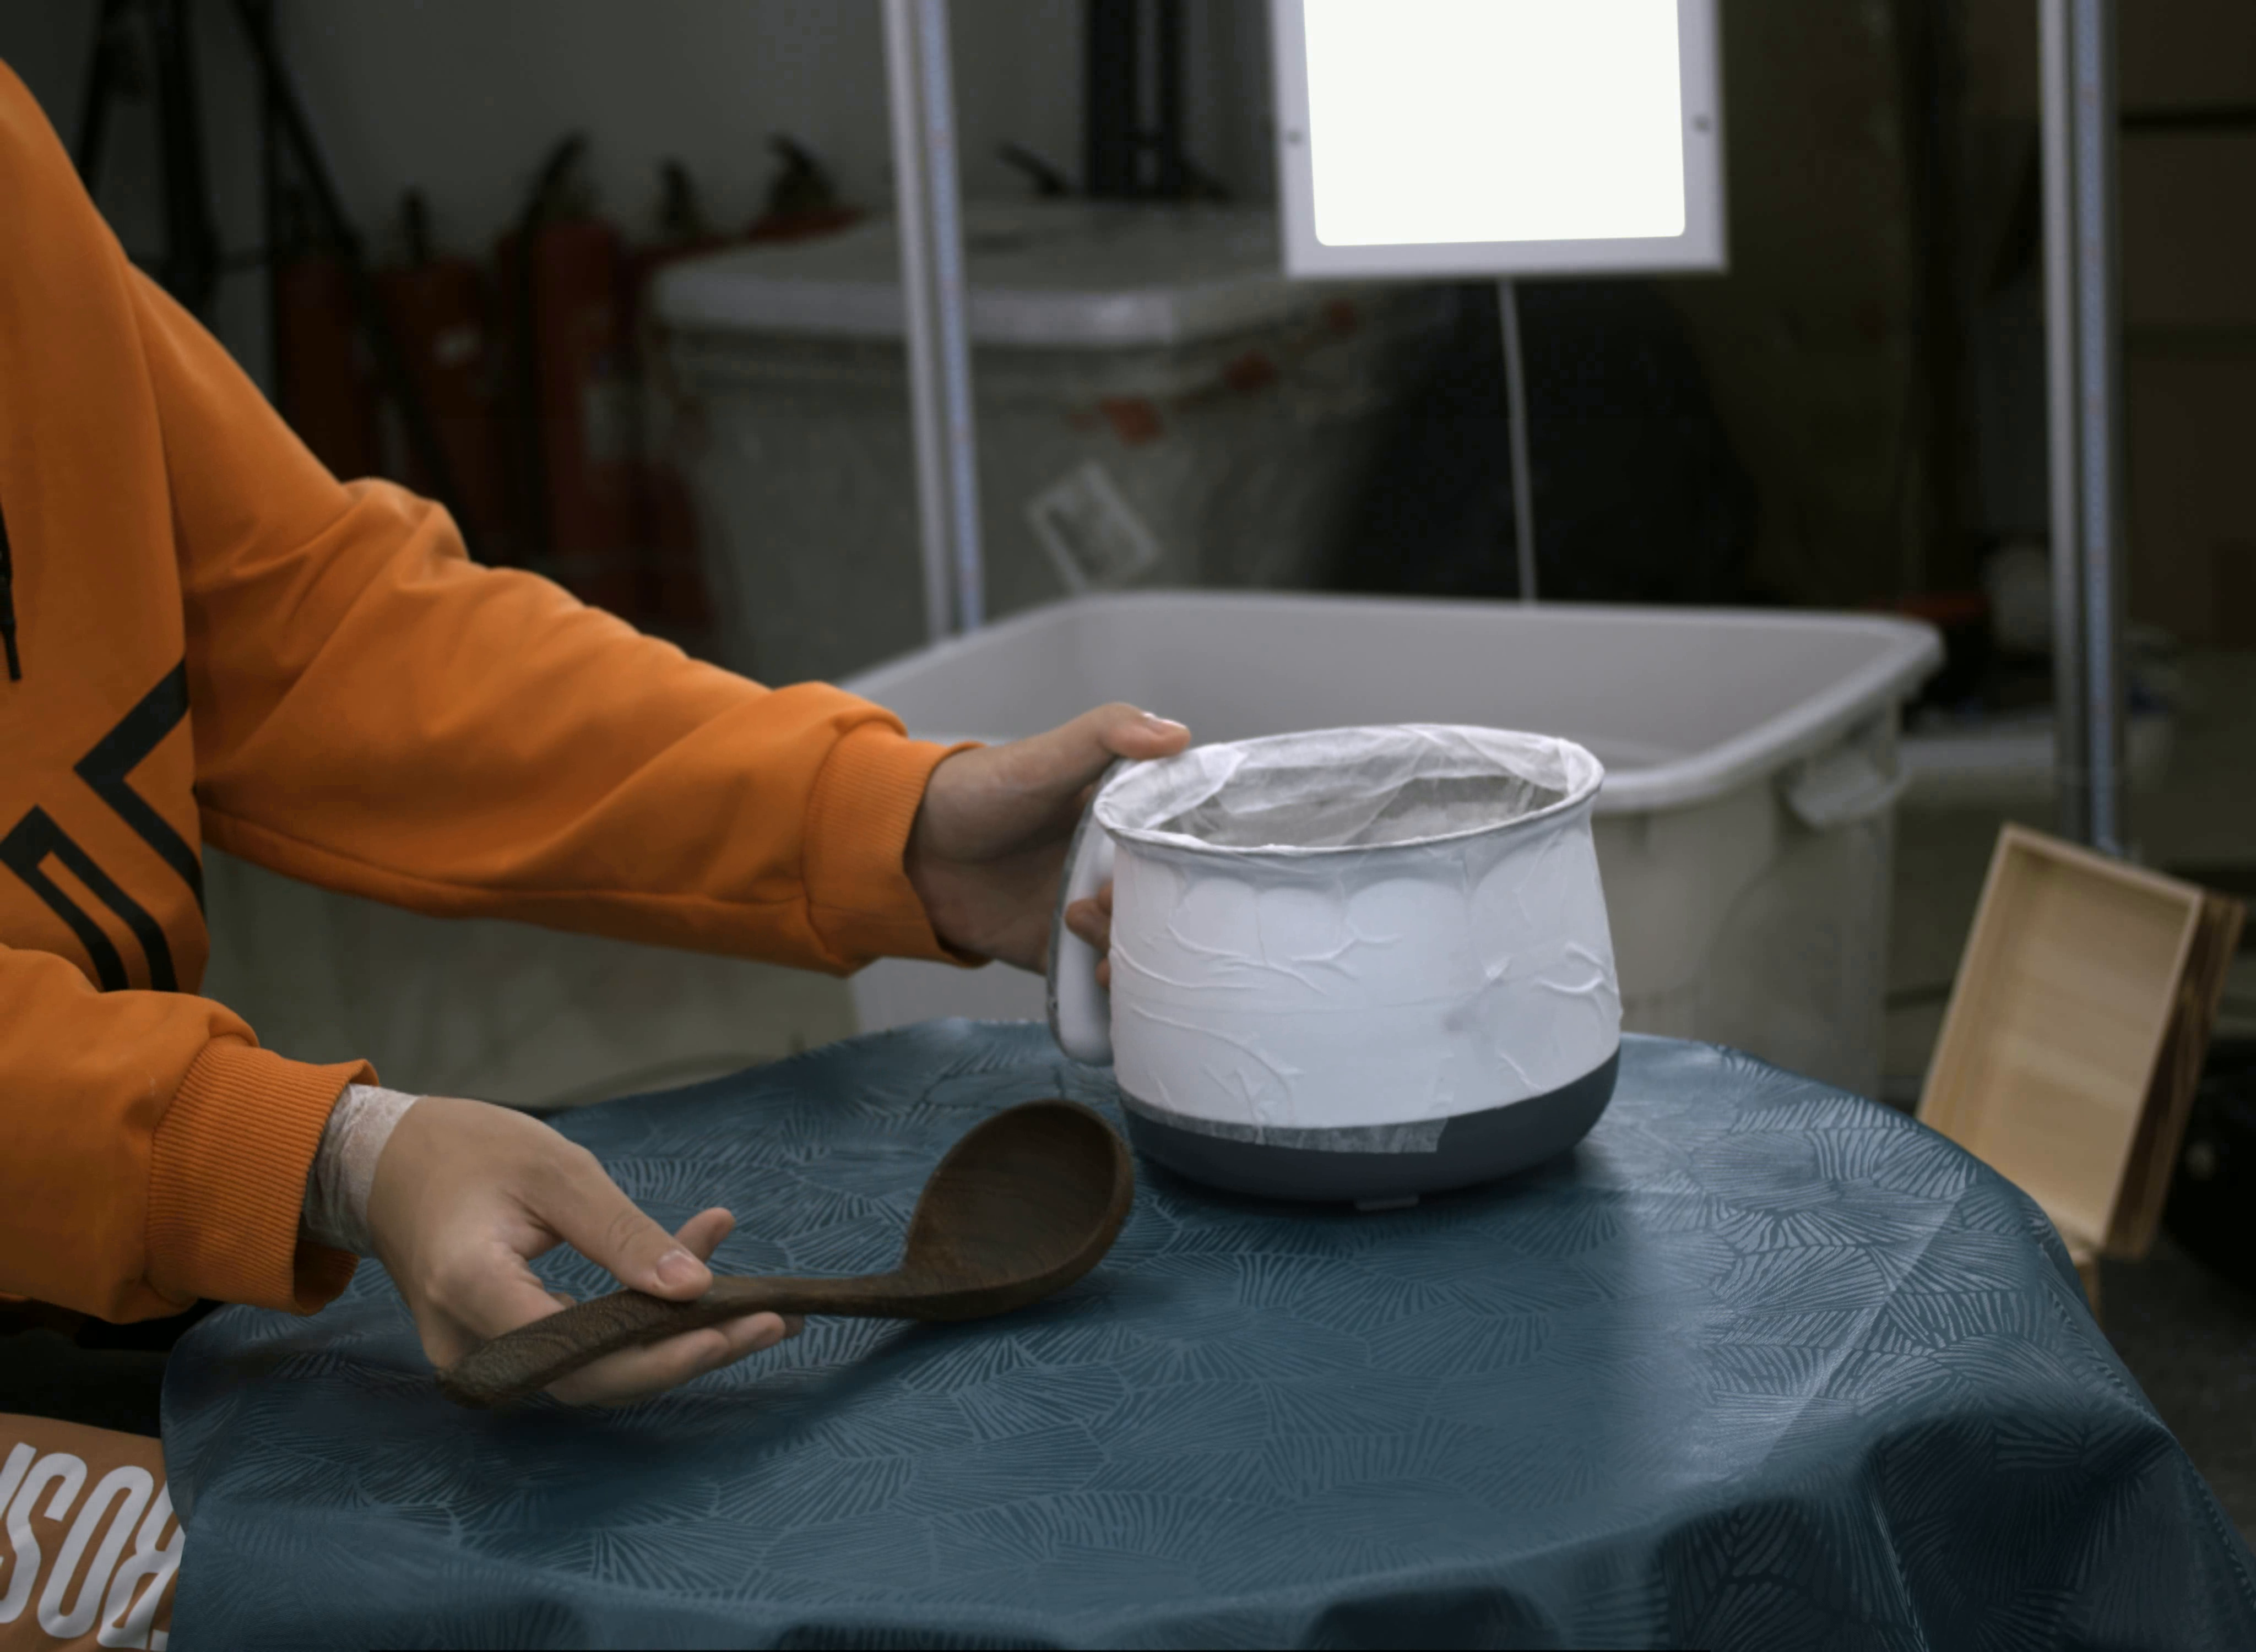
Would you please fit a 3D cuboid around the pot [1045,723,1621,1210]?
[{"bbox_3d":[0.060,0.044,1.920,0.239,0.137,0.174,8,18,43],"label":"pot"}]

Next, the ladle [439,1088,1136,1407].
[{"bbox_3d":[-0.104,0.128,1.719,0.077,0.072,0.267,15,14,41],"label":"ladle"}]
